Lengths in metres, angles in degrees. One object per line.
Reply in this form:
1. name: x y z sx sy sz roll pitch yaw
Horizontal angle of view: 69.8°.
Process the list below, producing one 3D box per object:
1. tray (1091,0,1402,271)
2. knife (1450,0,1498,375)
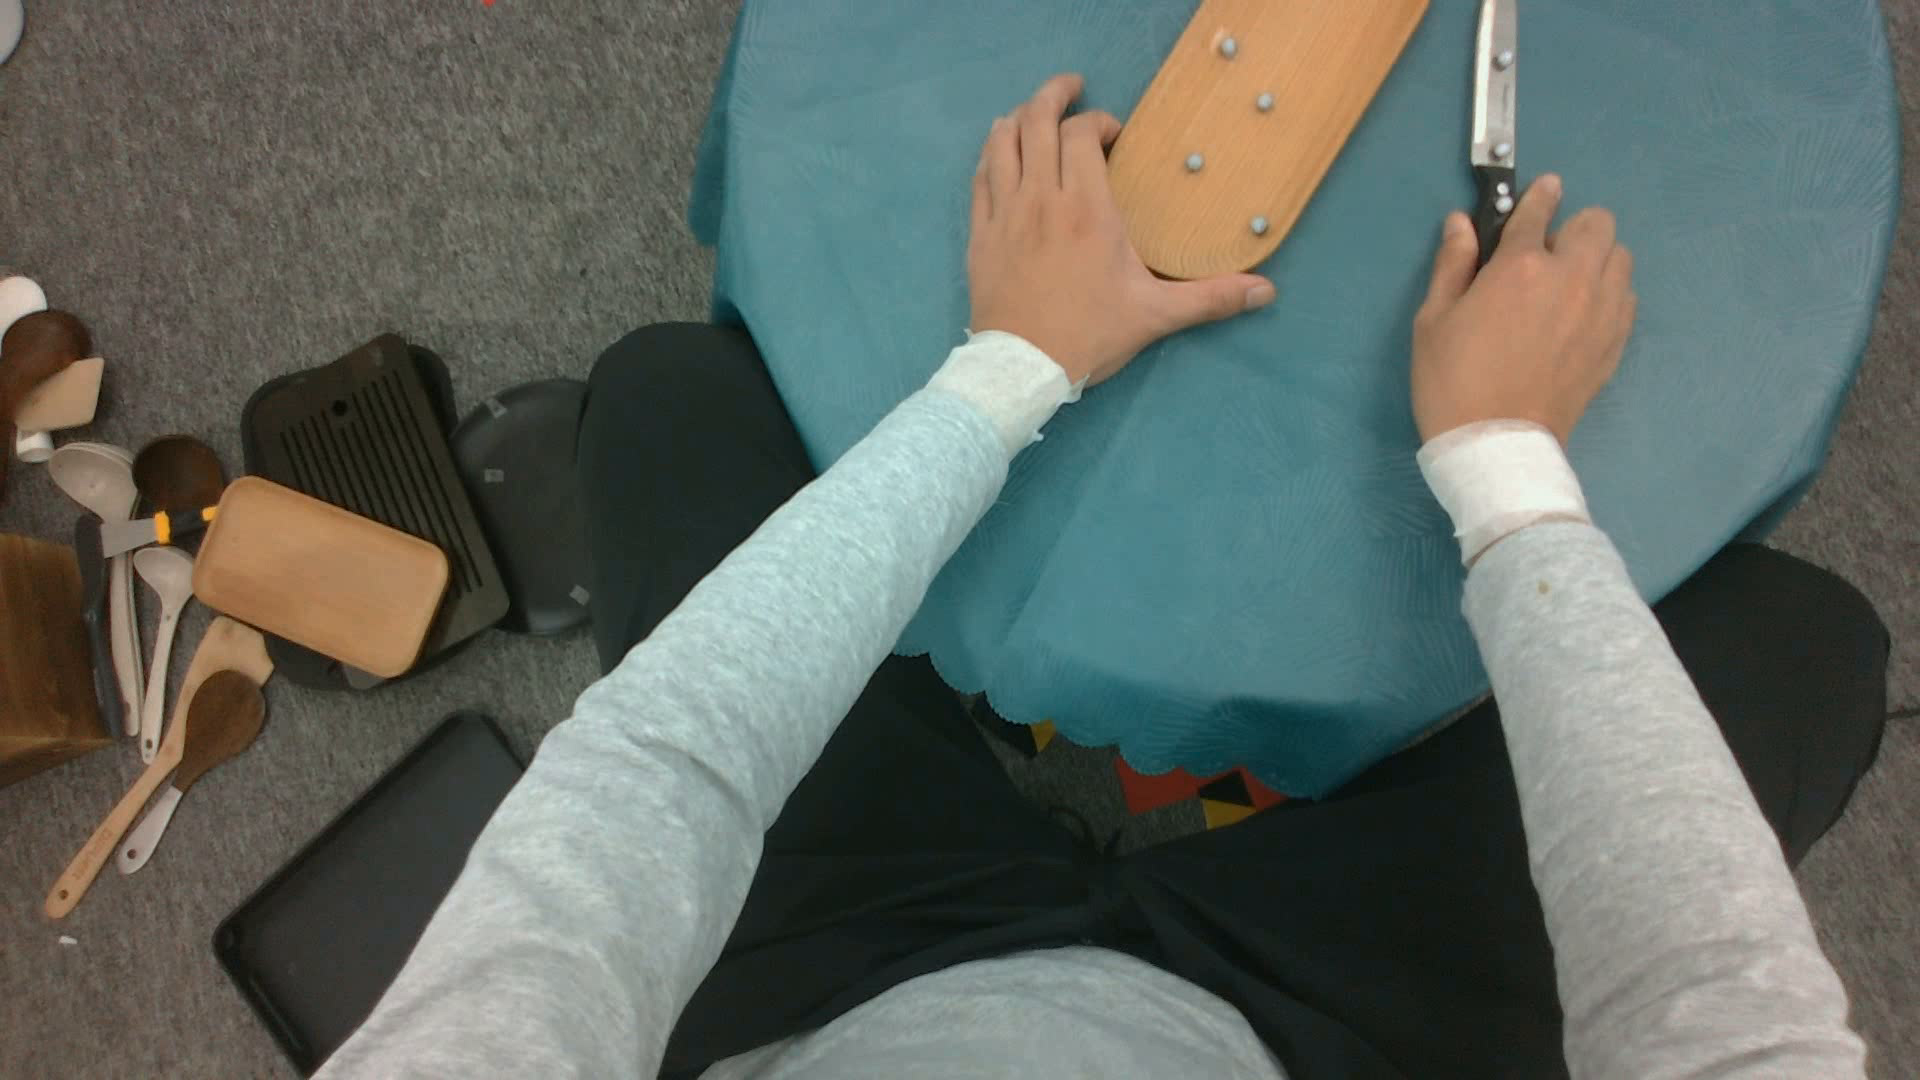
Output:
1. tray: 0.151 -0.244 0.719 0.101 0.020 0.231 29 83 8
2. knife: 0.262 -0.198 0.702 0.024 0.016 0.238 4 79 -1
